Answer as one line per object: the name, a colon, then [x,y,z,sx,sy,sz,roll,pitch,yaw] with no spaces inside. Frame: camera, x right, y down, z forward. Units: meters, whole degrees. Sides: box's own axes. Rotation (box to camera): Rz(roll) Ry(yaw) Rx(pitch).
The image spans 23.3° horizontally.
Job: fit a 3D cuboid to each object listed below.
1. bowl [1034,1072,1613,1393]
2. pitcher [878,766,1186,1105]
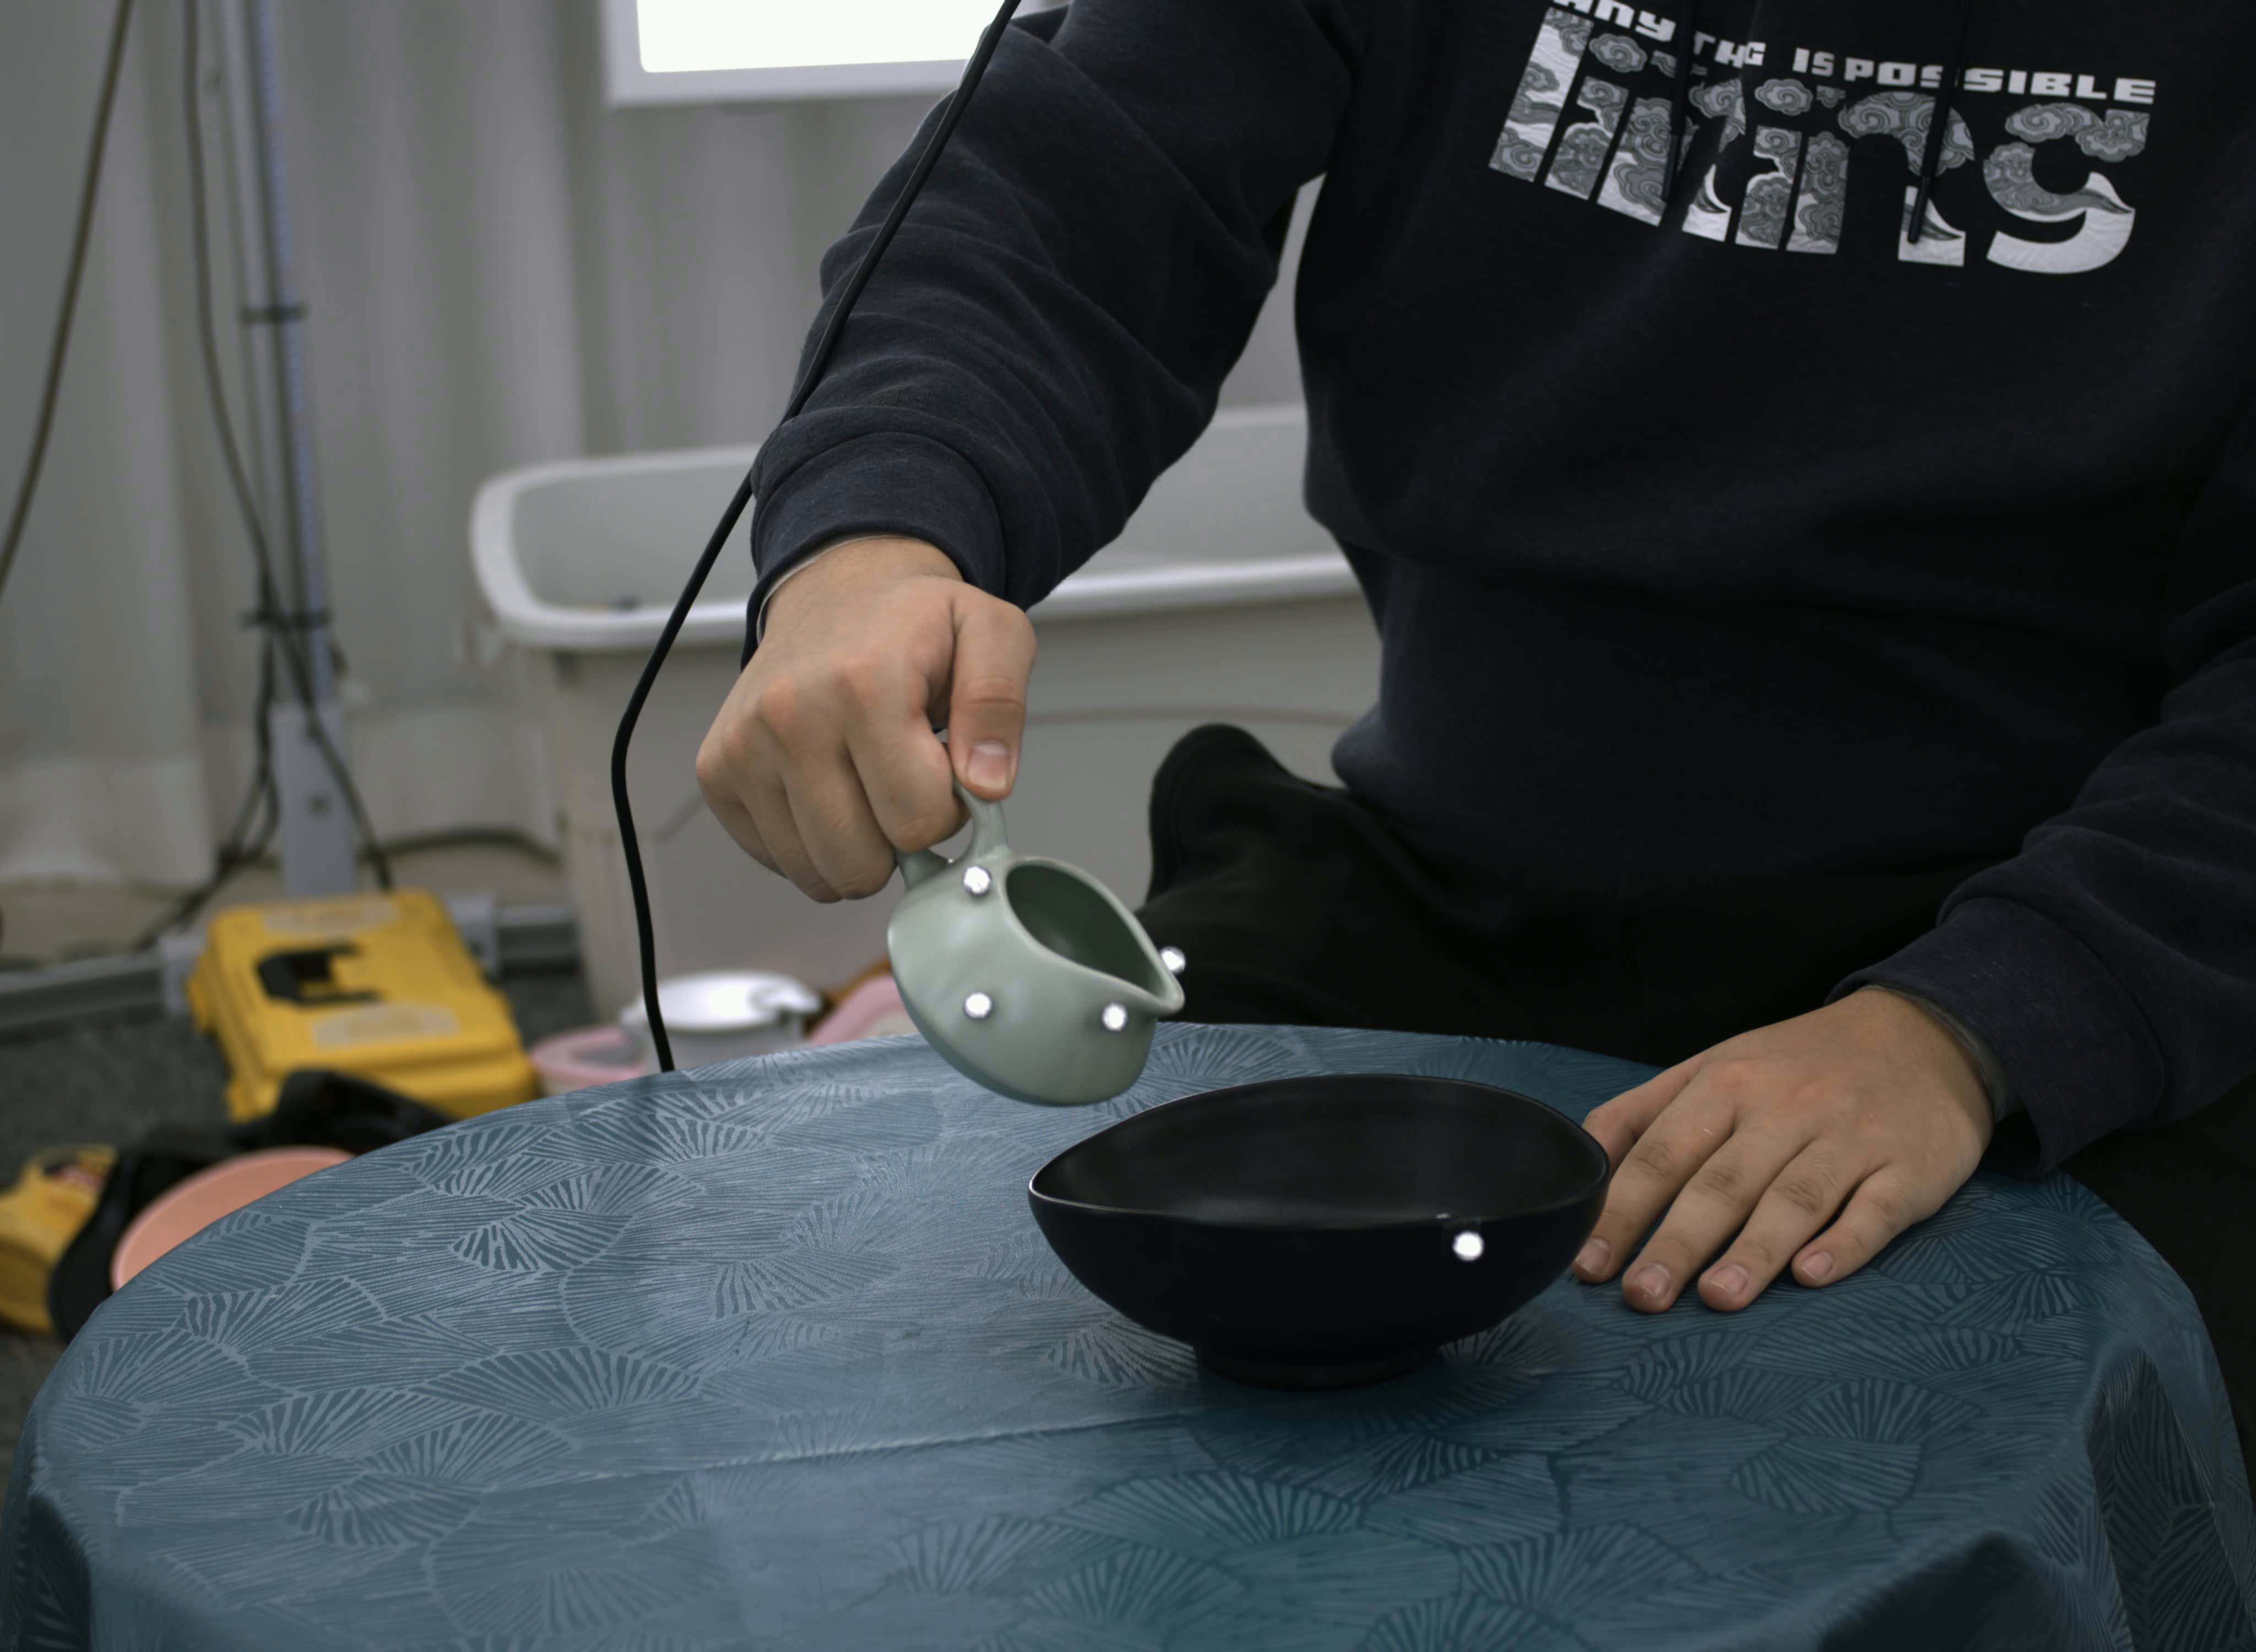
bowl: [0.055,0.121,1.562,0.170,0.066,0.138,1,14,17]
pitcher: [-0.035,0.033,1.572,0.108,0.060,0.086,43,31,15]
